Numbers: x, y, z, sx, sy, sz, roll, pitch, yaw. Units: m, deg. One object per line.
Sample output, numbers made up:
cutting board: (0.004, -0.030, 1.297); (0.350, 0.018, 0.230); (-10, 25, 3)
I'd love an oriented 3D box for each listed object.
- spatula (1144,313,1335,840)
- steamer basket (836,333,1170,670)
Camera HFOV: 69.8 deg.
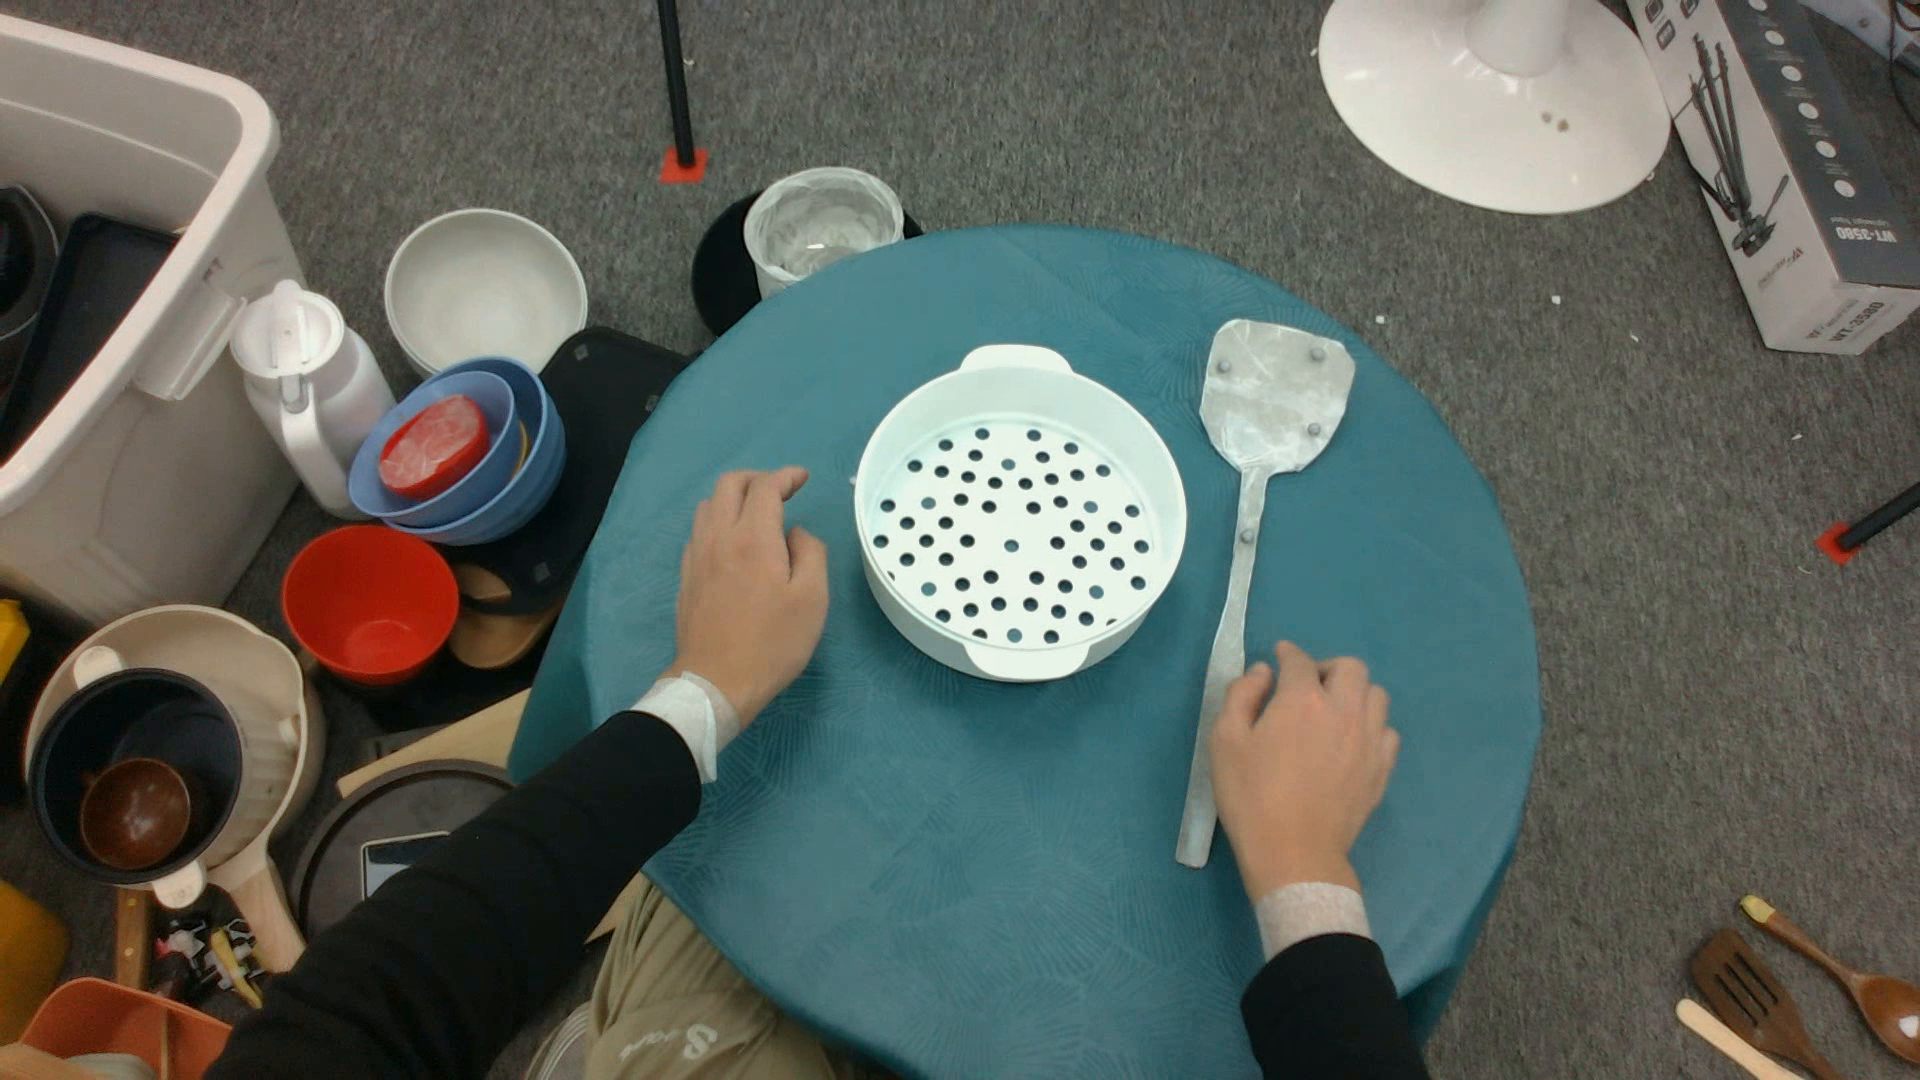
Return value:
spatula: (0.165, 0.014, 0.868); (0.099, 0.044, 0.366); (16, 61, 1)
steamer basket: (0.025, -0.018, 0.852); (0.202, 0.069, 0.231); (2, 62, -4)
